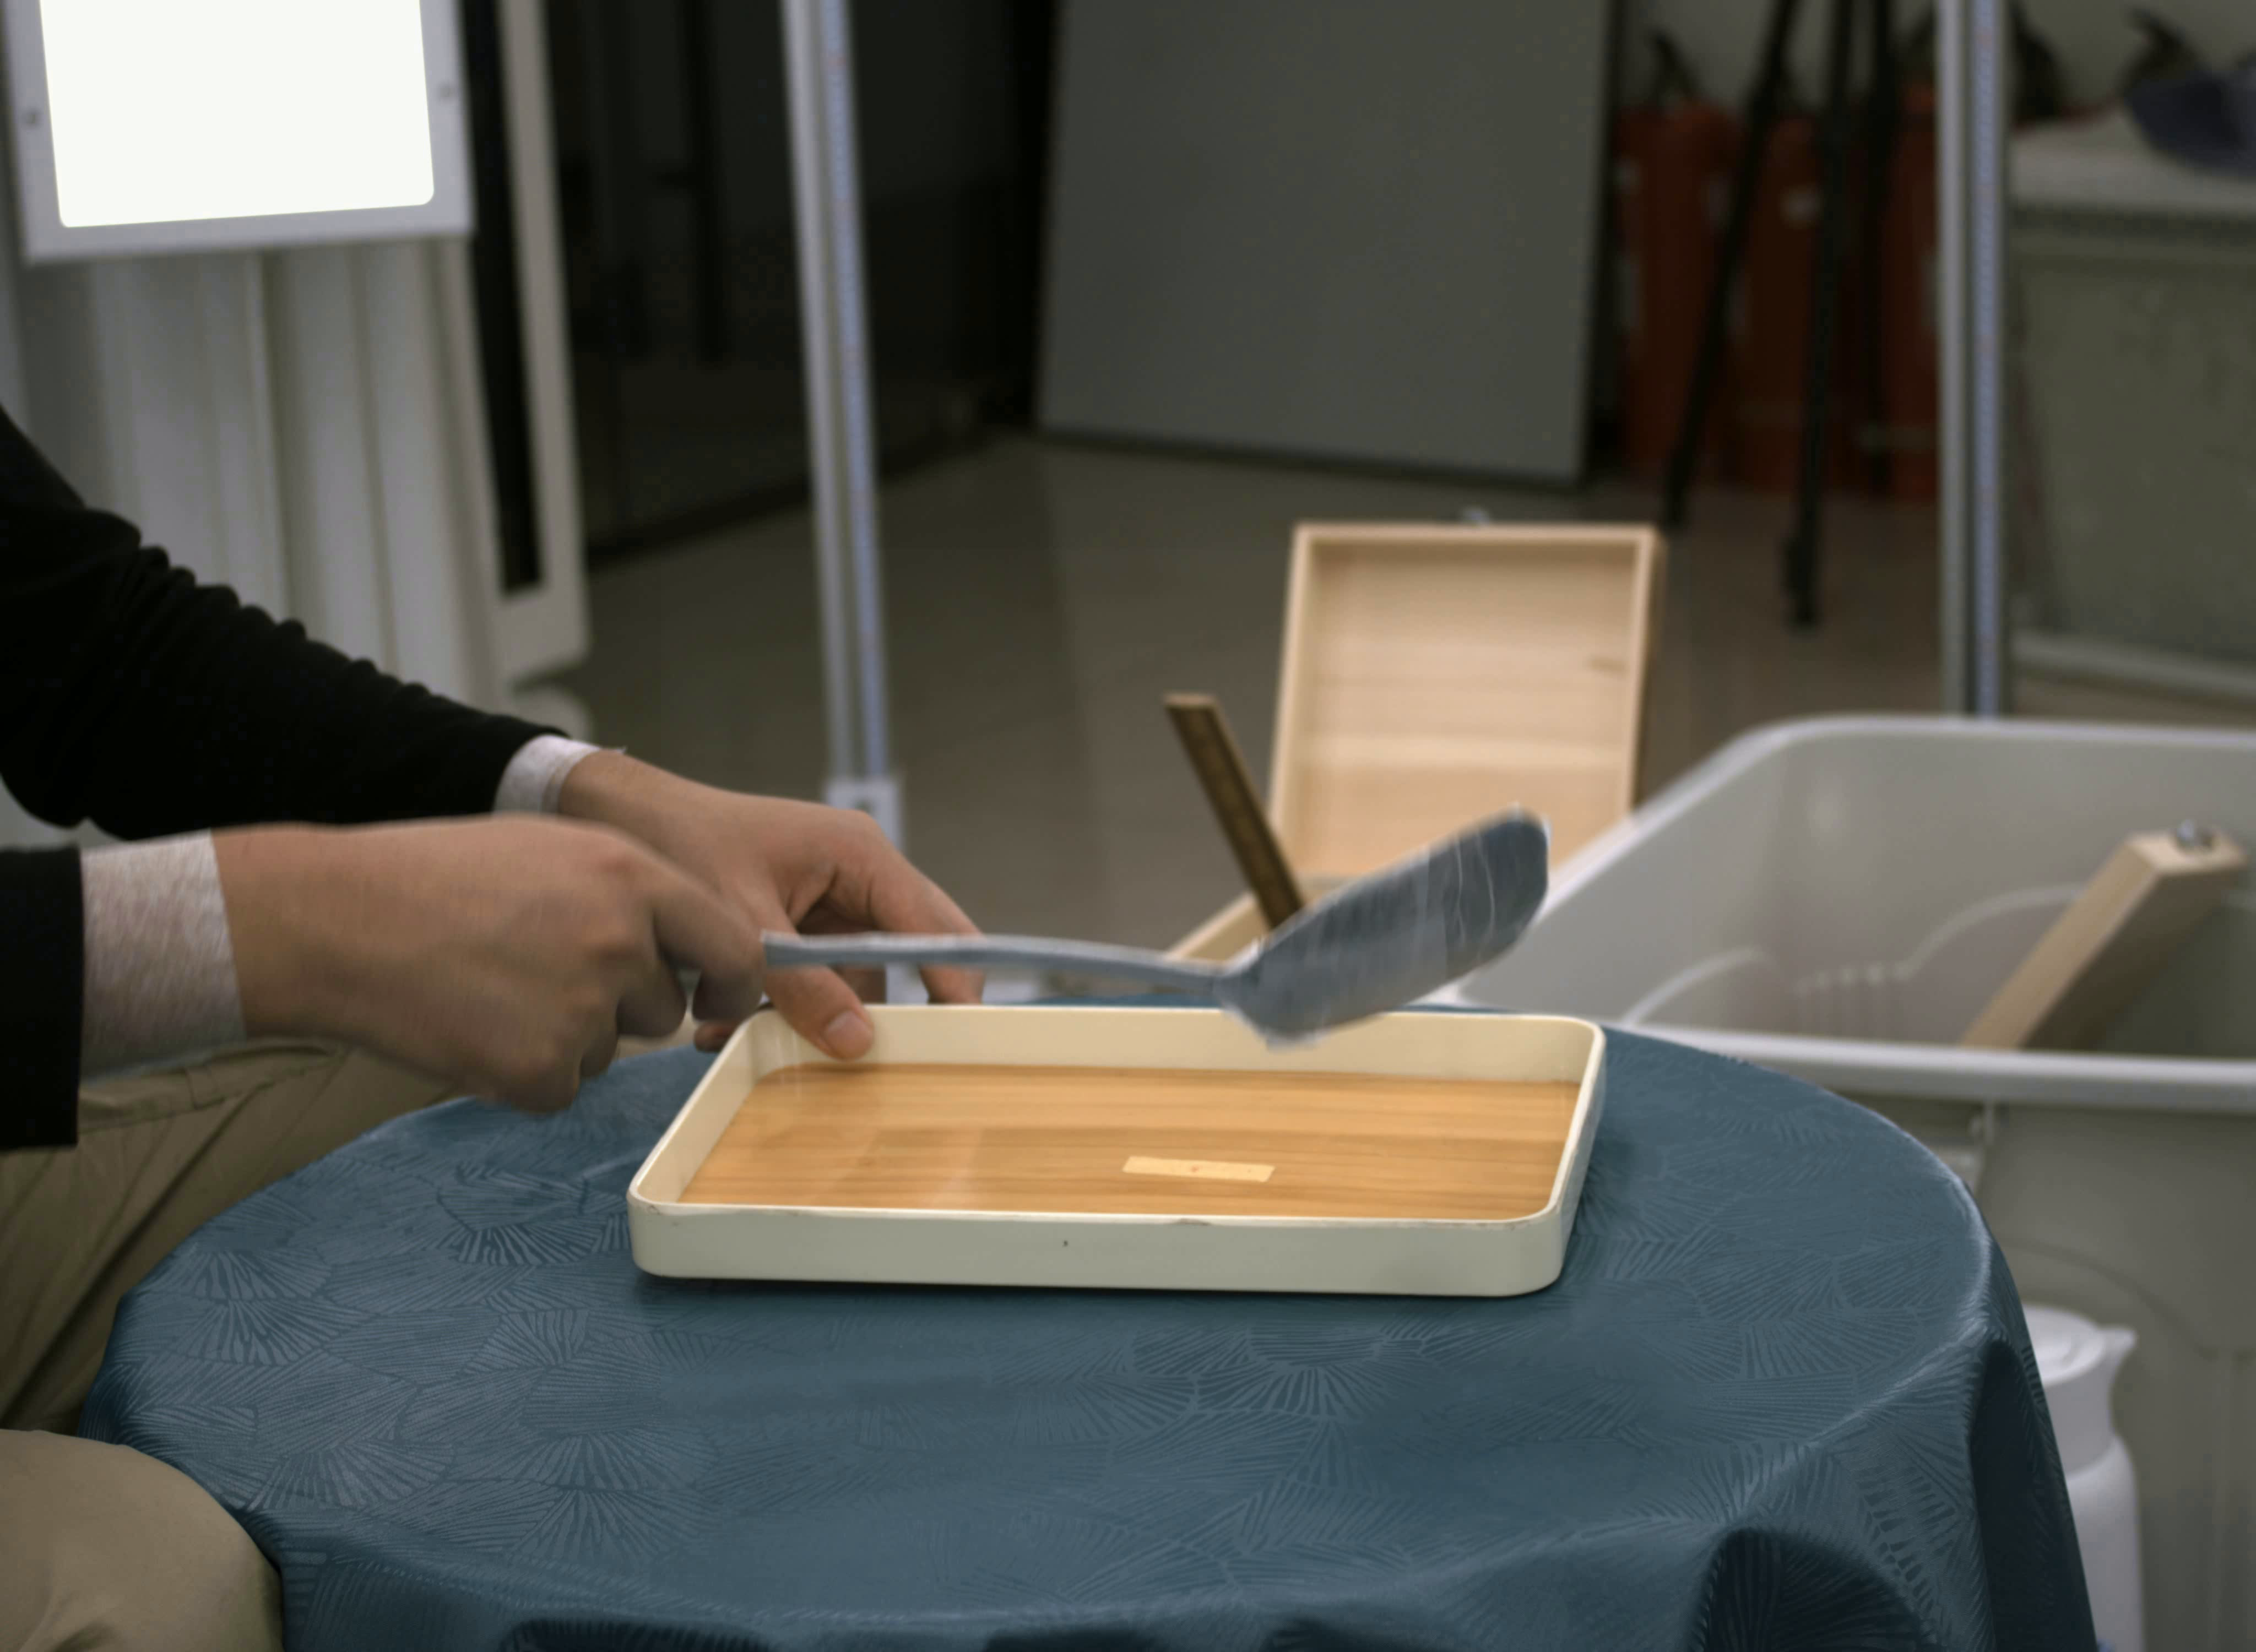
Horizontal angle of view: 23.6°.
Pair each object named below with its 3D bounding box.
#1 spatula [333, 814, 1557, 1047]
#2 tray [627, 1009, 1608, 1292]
[{"bbox_3d":[-0.052,0.038,1.582,0.360,0.045,0.099,0,-29,-2],"label":"spatula"},{"bbox_3d":[0.001,0.104,1.753,0.298,0.028,0.191,0,18,12],"label":"tray"}]
